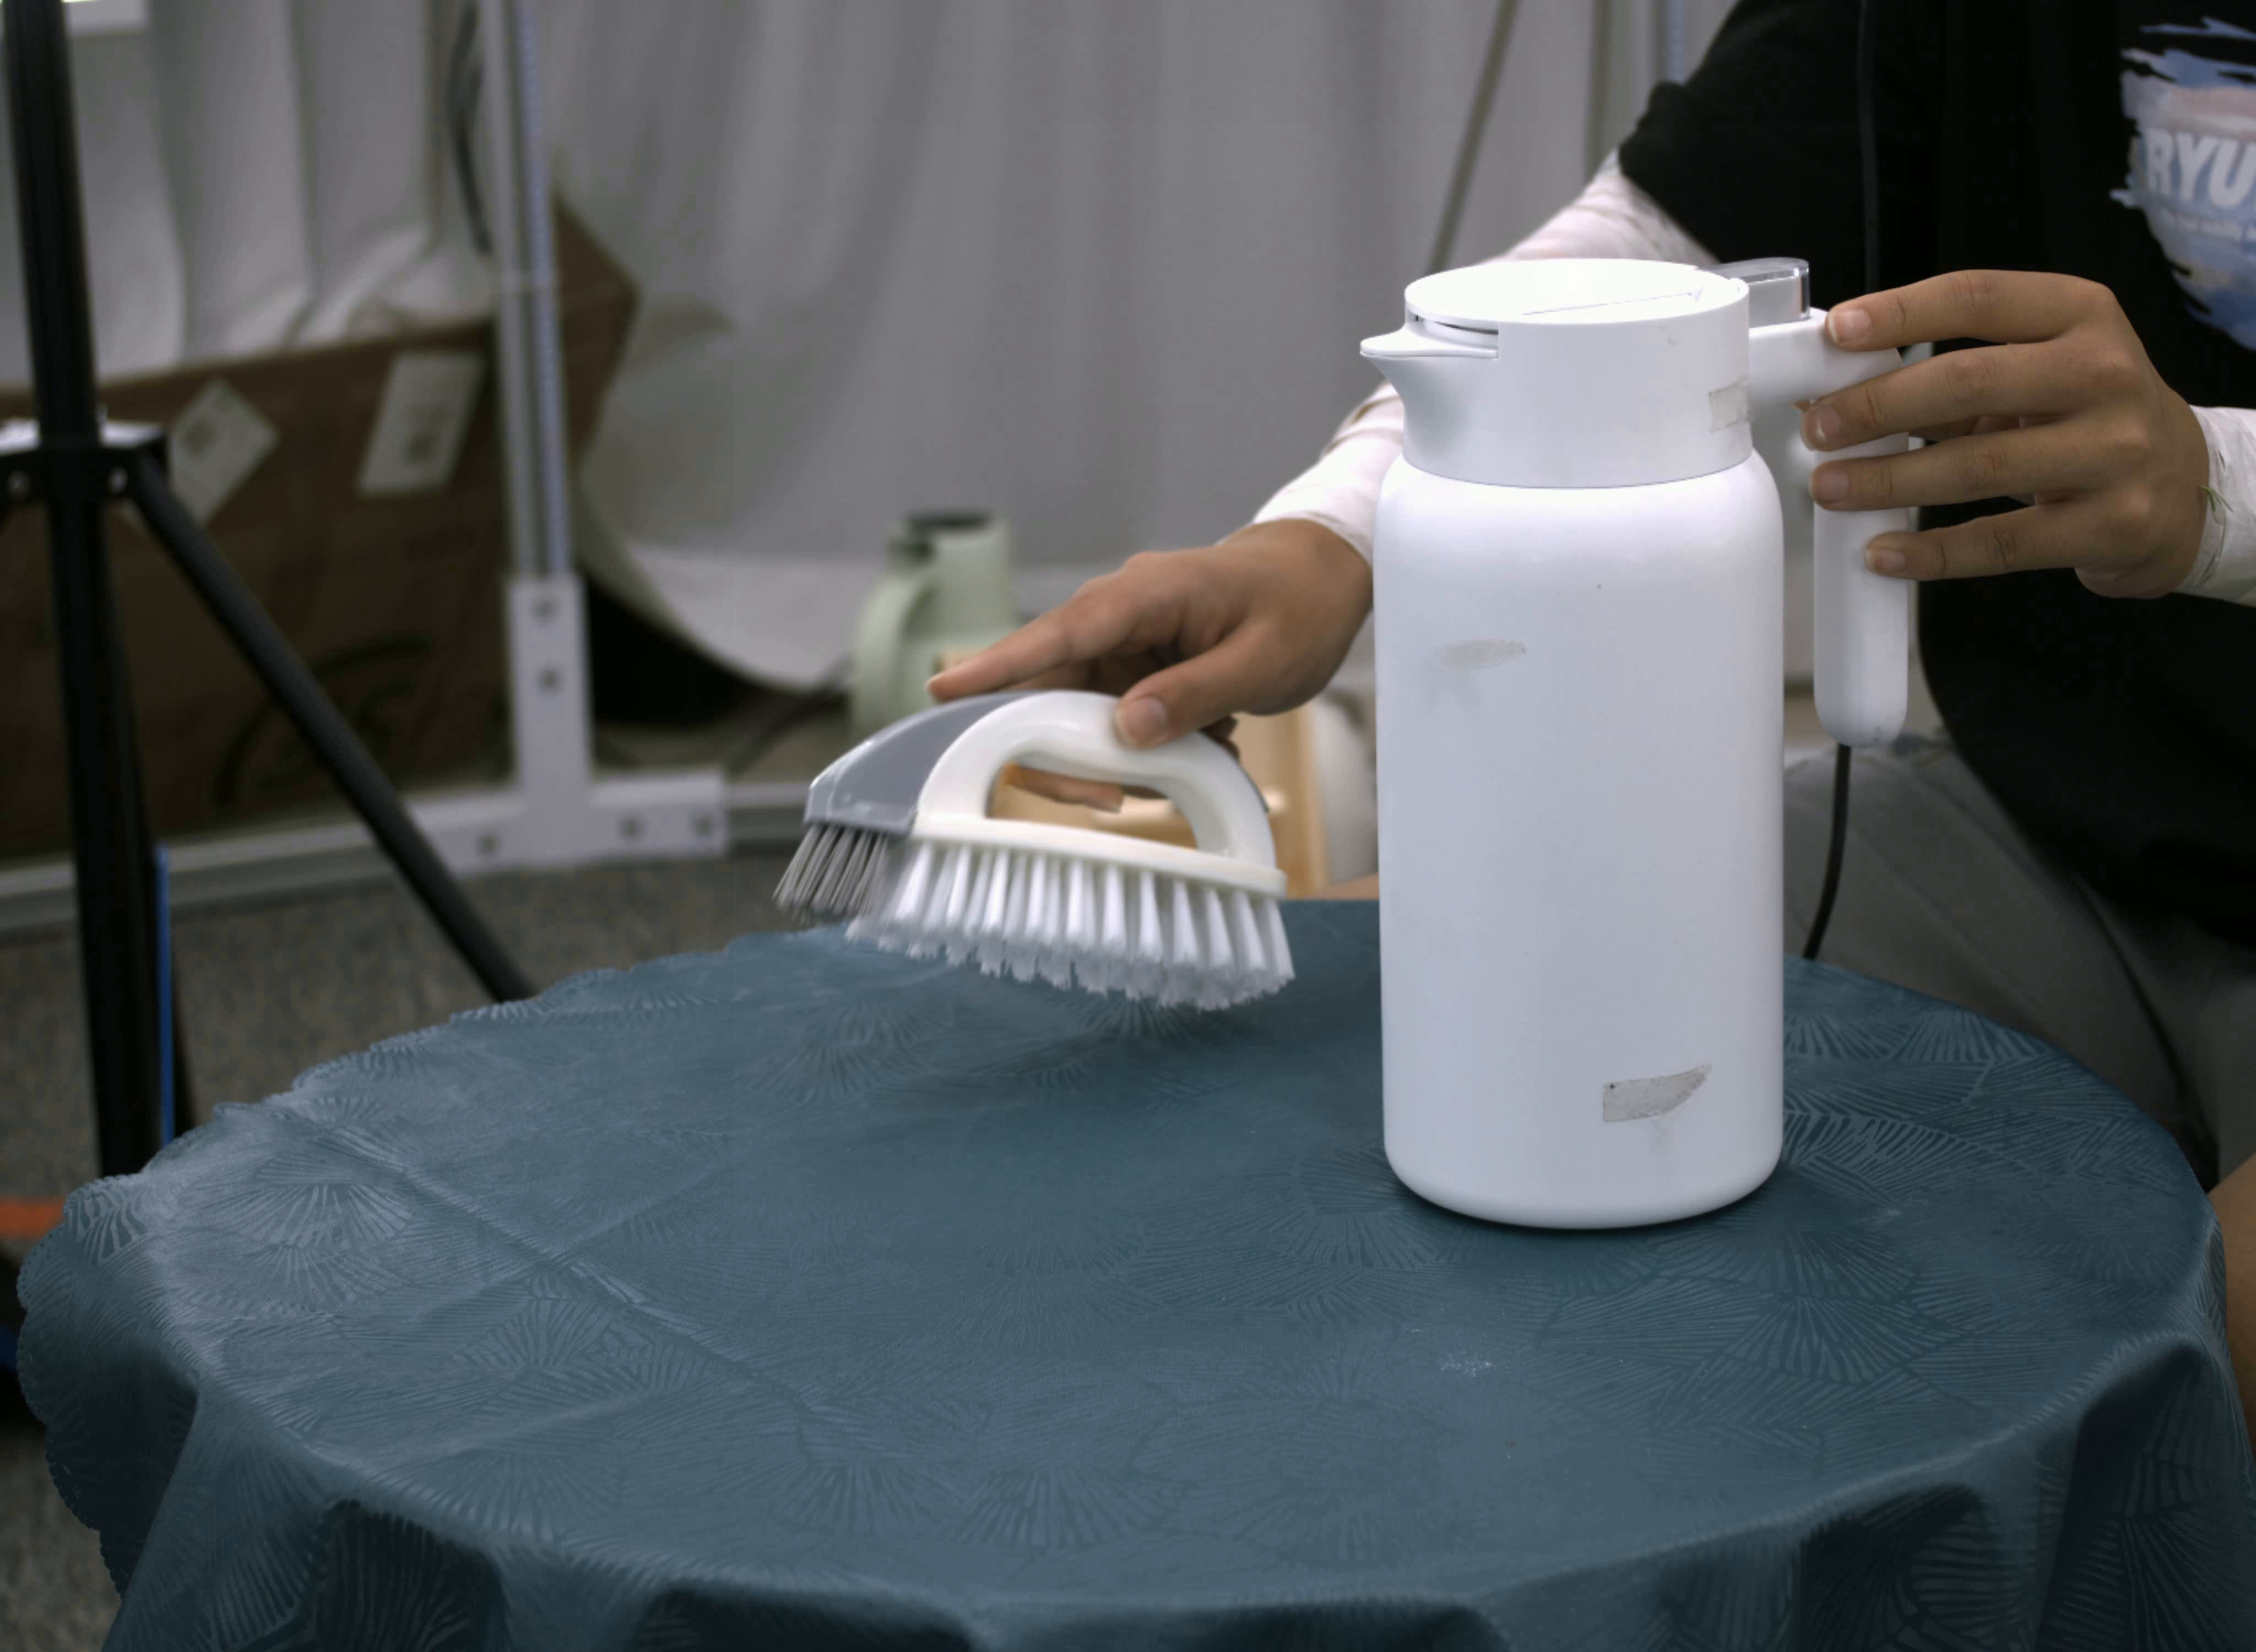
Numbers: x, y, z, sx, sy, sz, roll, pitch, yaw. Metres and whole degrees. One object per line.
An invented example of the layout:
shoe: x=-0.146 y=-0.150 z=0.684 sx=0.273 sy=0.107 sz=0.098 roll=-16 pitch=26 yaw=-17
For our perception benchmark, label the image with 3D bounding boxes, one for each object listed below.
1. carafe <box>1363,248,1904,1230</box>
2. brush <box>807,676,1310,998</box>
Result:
carafe: x=0.144 y=-0.028 z=1.531 sx=0.169 sy=0.269 sz=0.126 roll=-9 pitch=14 yaw=-25
brush: x=-0.025 y=-0.004 z=1.675 sx=0.171 sy=0.095 sz=0.062 roll=11 pitch=-21 yaw=-30
